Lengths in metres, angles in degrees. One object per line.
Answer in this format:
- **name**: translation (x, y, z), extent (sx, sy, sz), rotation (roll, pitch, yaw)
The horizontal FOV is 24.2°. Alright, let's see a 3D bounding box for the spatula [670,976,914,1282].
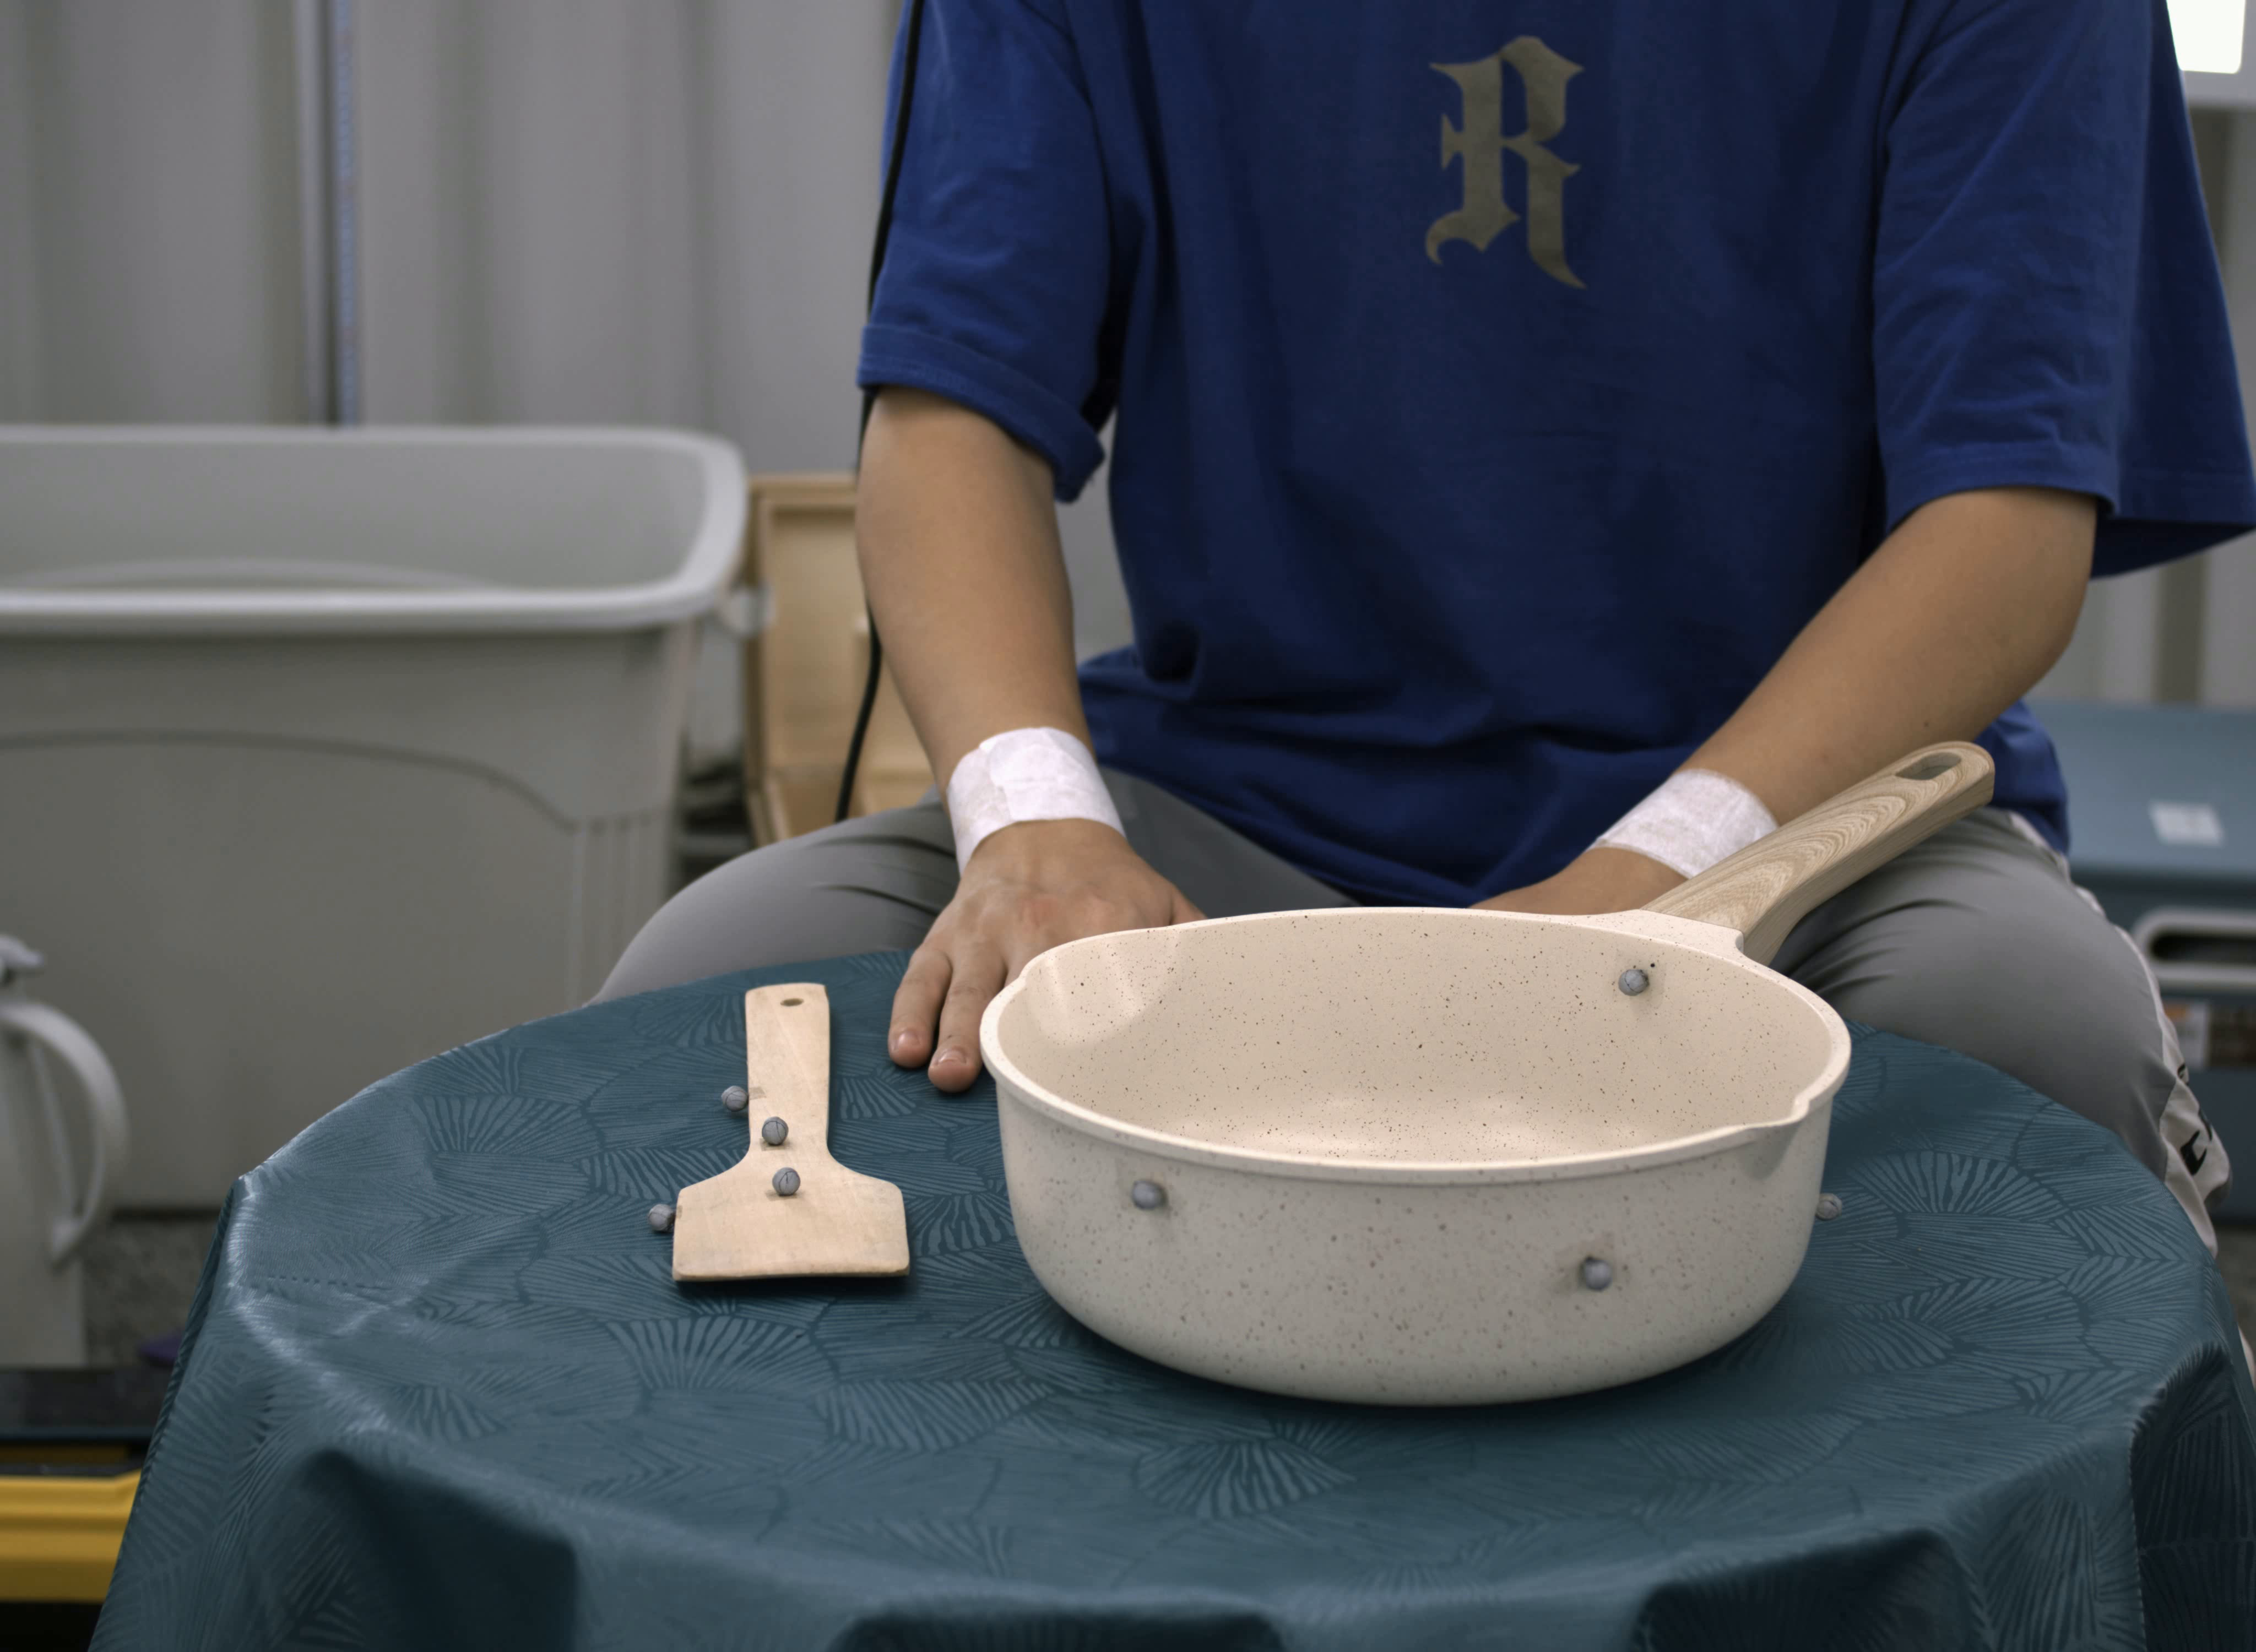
- **spatula**: translation (-0.107, 0.094, 1.668), extent (0.072, 0.011, 0.291), rotation (-1, 16, -3)

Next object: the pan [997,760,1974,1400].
- **pan**: translation (0.143, 0.071, 1.592), extent (0.260, 0.103, 0.437), rotation (10, 18, 36)
